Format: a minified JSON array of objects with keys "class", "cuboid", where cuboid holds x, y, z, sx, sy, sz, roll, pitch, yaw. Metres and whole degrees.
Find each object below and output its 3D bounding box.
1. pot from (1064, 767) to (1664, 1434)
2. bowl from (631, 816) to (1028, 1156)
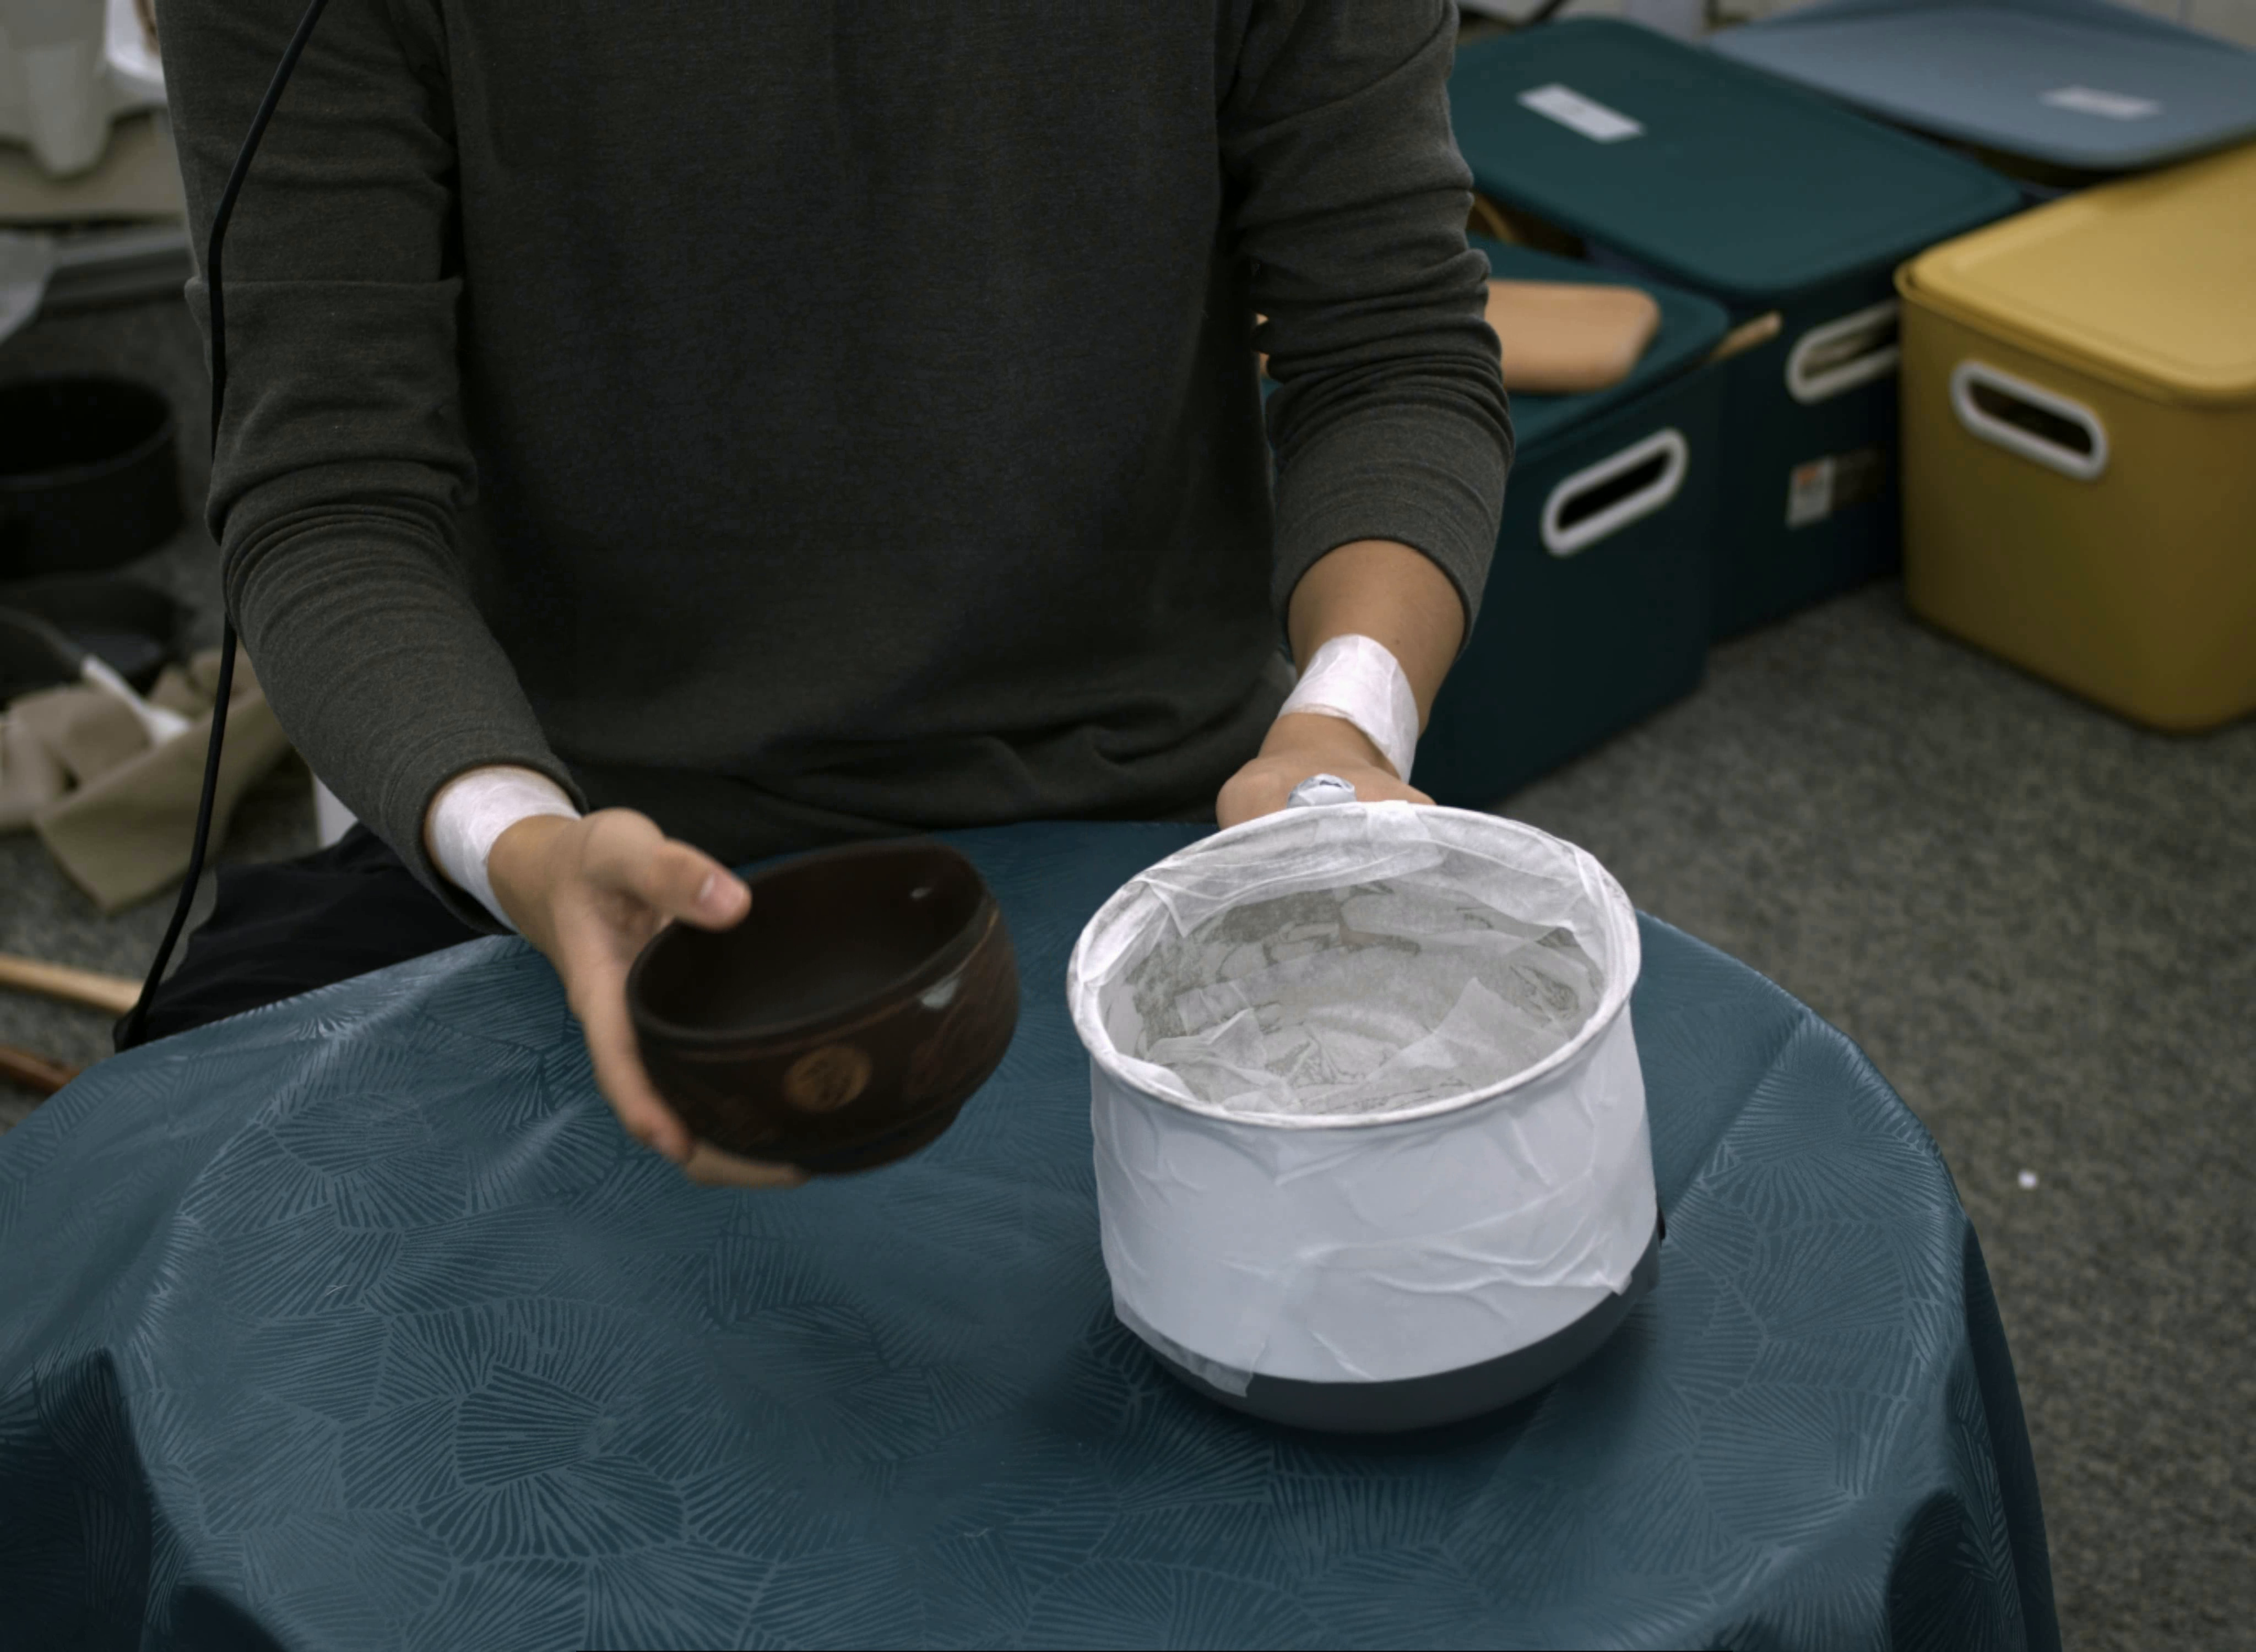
[{"class":"pot","cuboid":[0.073,0.078,1.773,0.178,0.135,0.237,-7,31,-1]},{"class":"bowl","cuboid":[-0.084,0.055,1.691,0.117,0.069,0.119,-16,23,7]}]
